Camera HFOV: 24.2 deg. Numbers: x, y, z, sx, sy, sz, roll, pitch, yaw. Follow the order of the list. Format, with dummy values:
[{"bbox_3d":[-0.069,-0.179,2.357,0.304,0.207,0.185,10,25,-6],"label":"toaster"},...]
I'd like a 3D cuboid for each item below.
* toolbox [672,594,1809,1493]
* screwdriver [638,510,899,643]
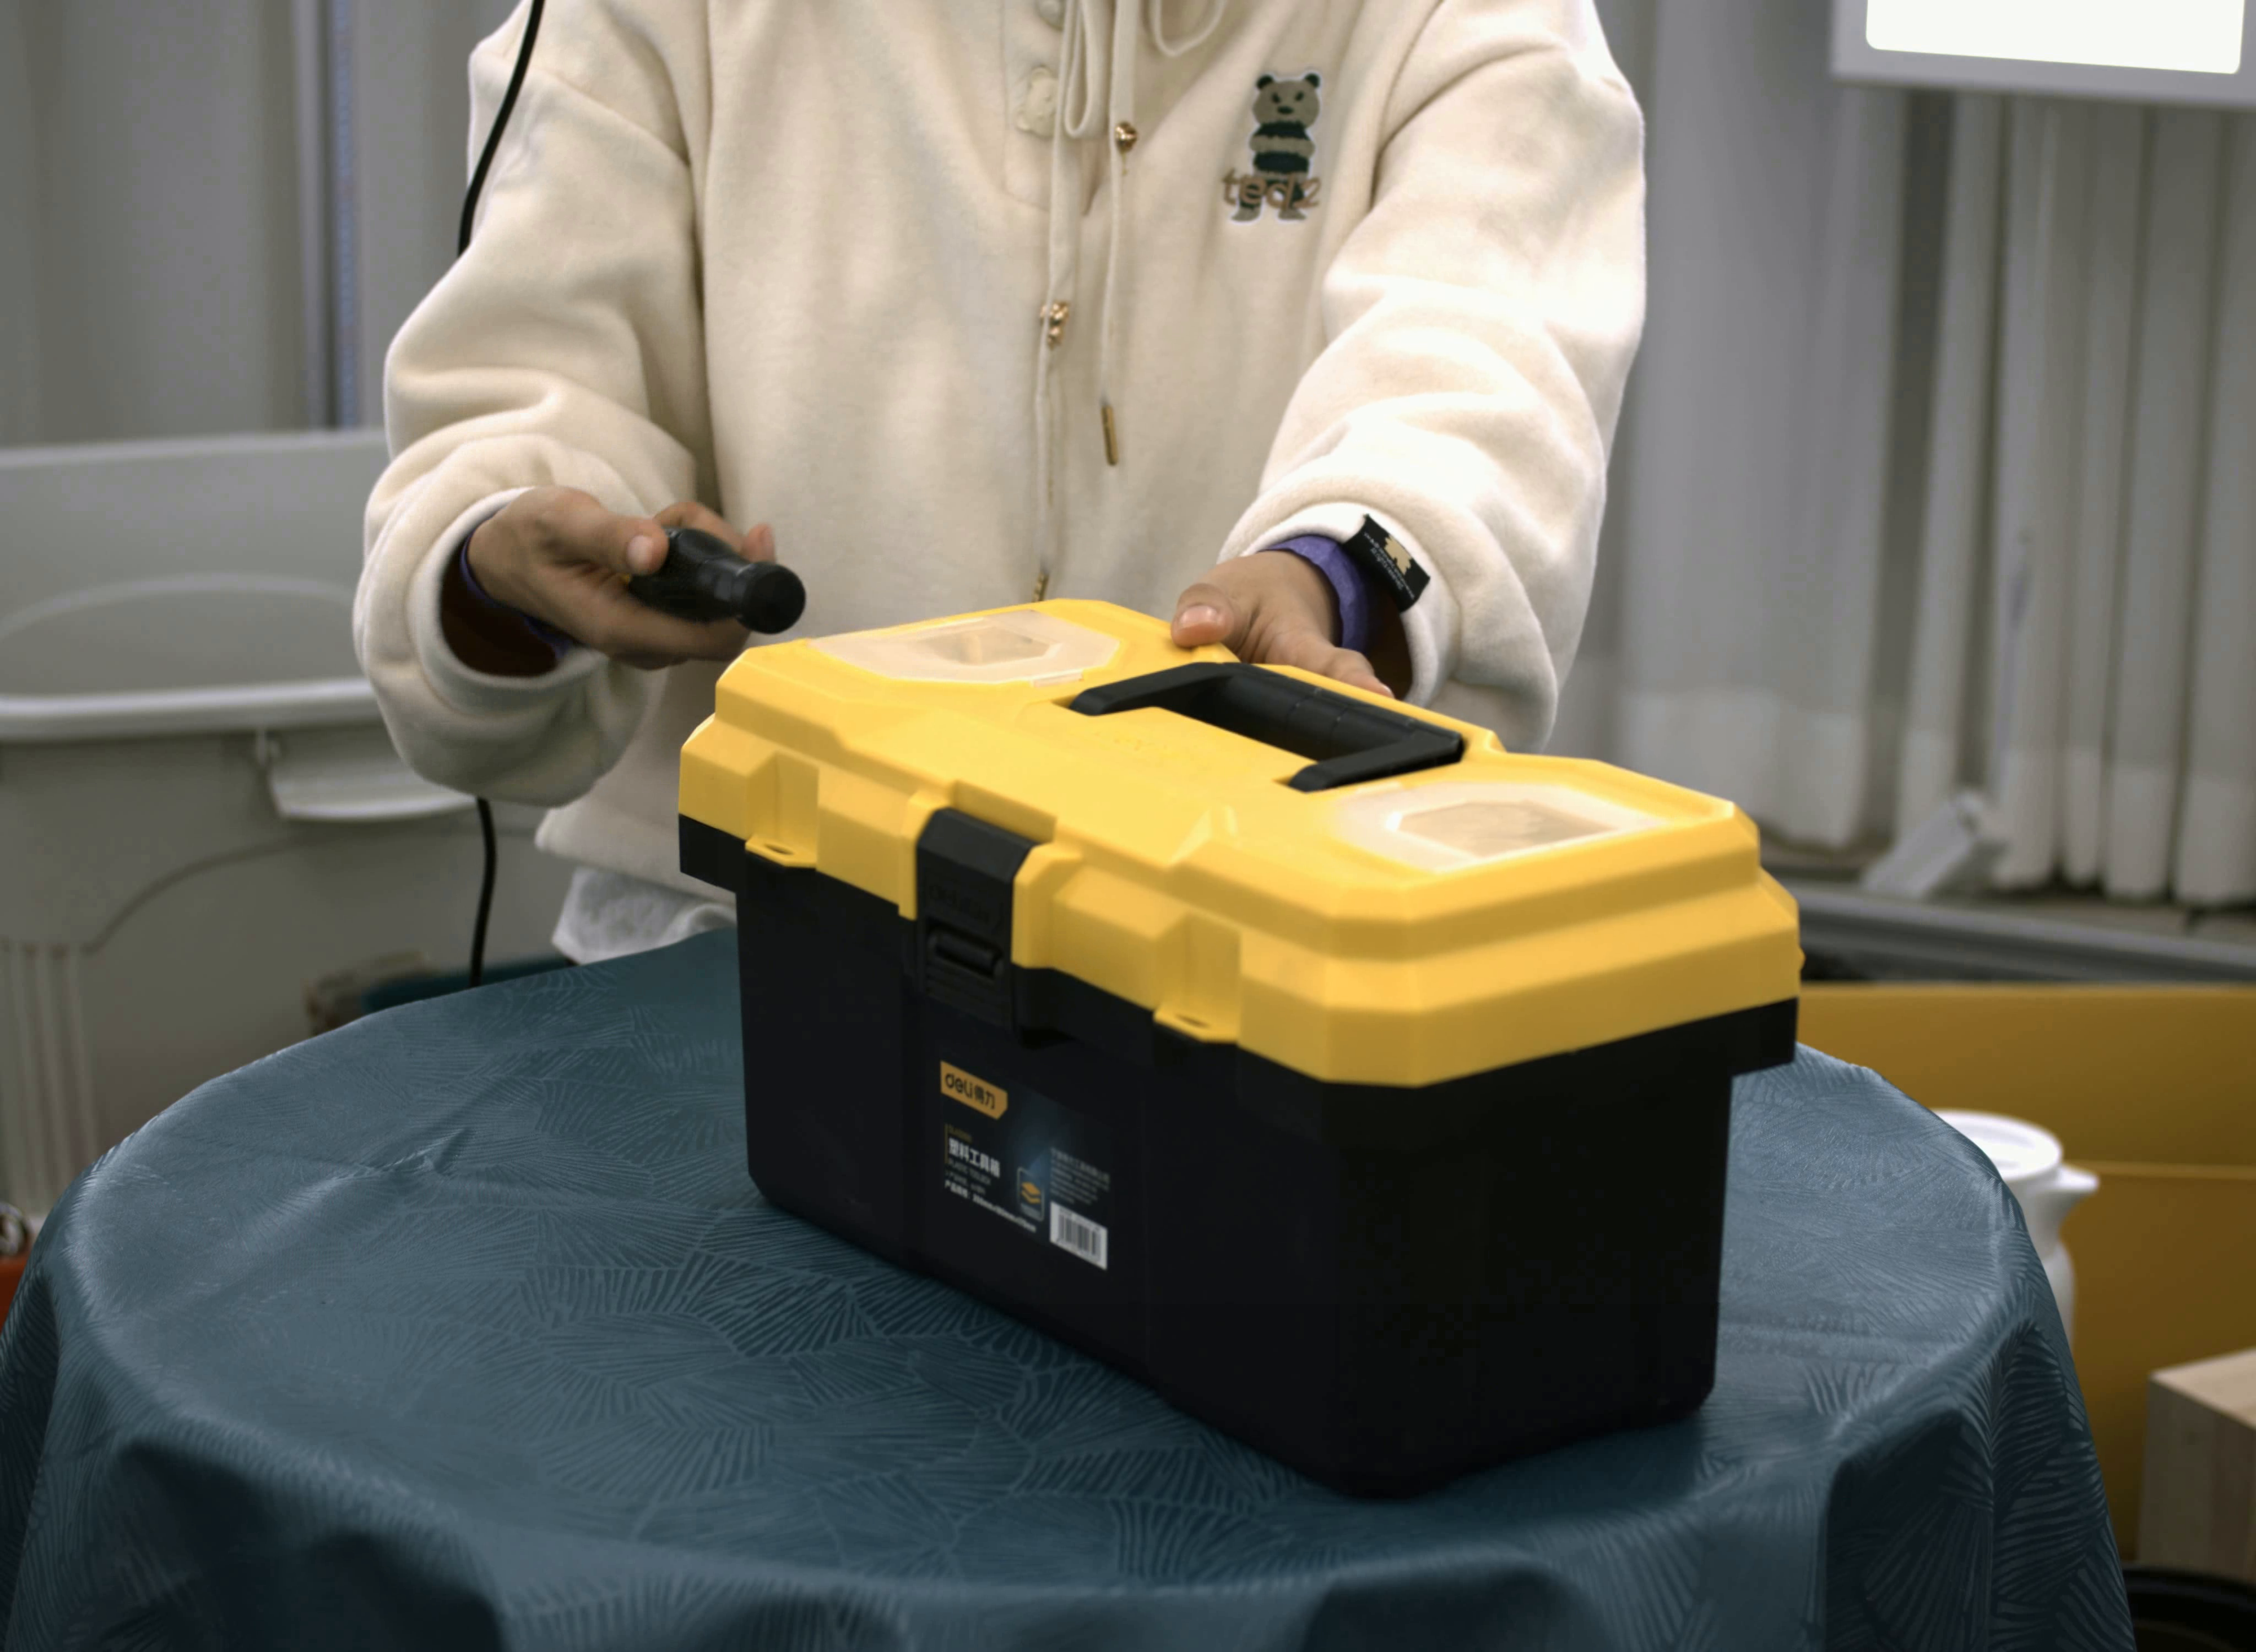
[{"bbox_3d":[0.024,0.053,1.509,0.182,0.174,0.347,-11,19,-35],"label":"toolbox"},{"bbox_3d":[-0.109,-0.079,1.704,0.031,0.032,0.195,-9,14,-30],"label":"screwdriver"}]
